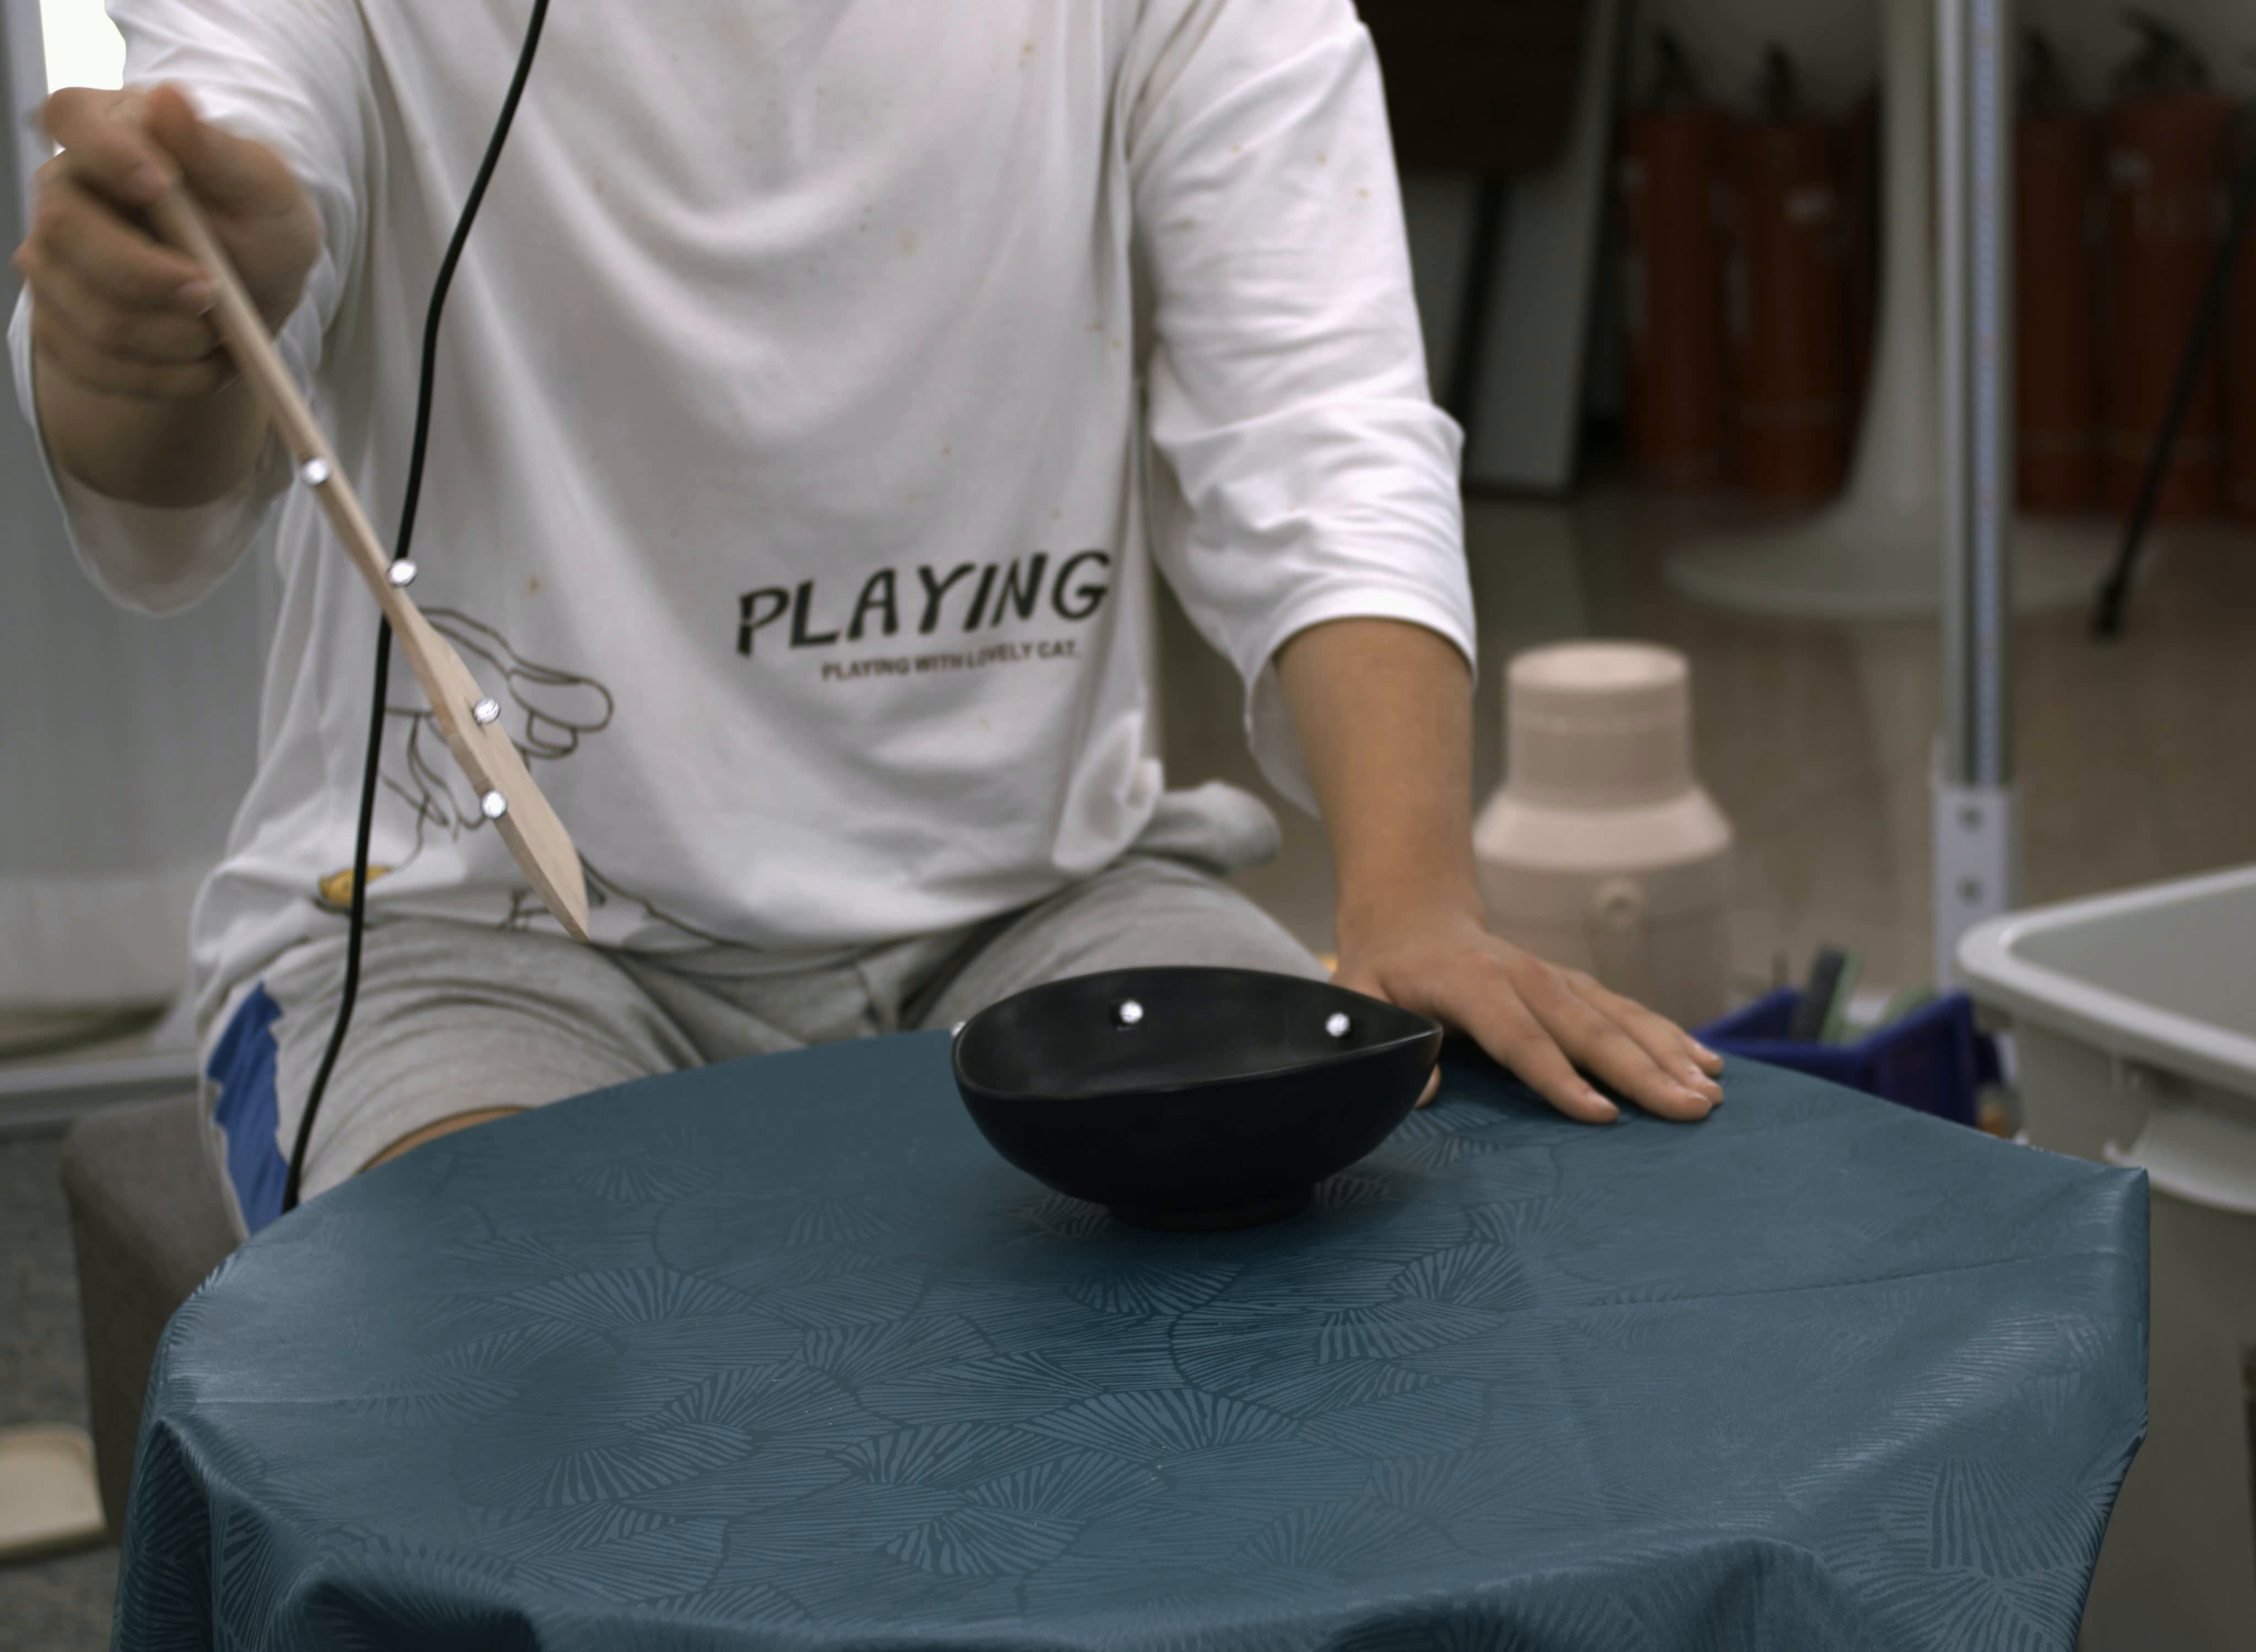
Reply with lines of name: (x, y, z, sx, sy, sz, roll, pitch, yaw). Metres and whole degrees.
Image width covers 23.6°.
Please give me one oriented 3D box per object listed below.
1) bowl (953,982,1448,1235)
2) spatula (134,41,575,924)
bowl: (0.024, 0.093, 1.751, 0.166, 0.067, 0.139, -9, 13, -29)
spatula: (-0.229, -0.100, 1.615, 0.010, 0.293, 0.073, -23, 26, 0)
